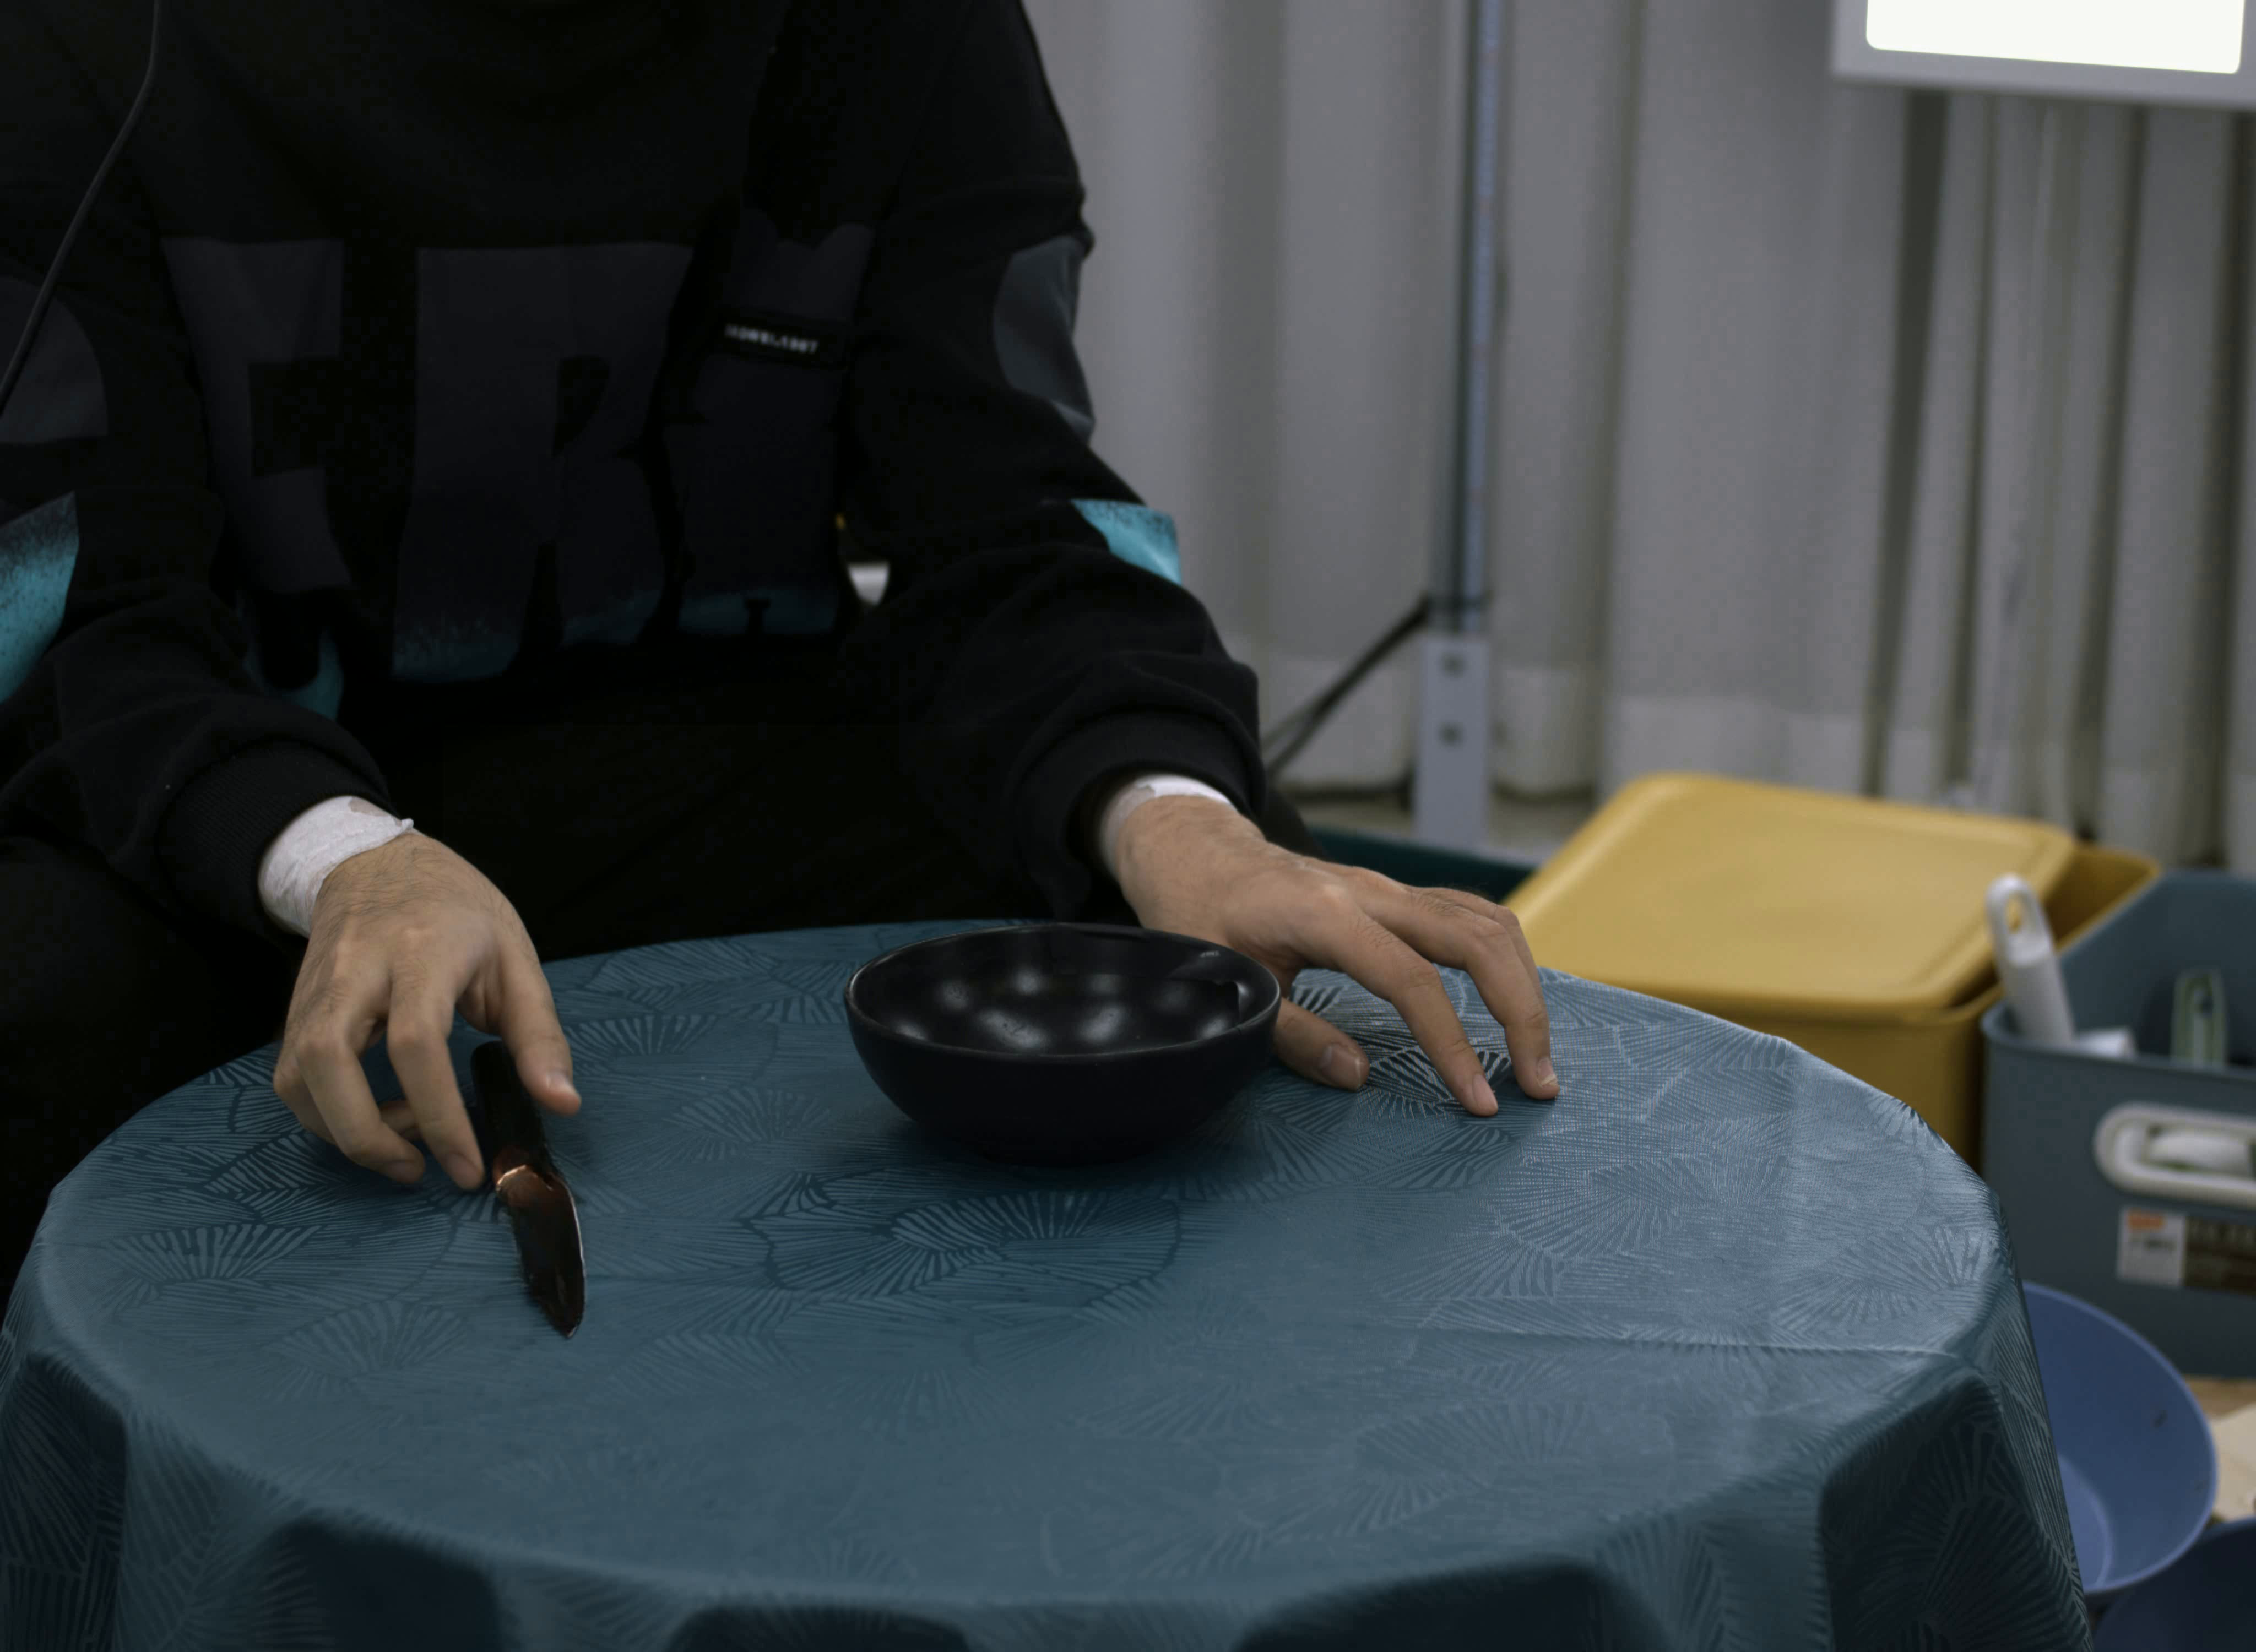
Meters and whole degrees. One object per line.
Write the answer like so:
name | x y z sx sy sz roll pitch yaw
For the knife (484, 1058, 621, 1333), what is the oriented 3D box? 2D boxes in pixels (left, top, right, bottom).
knife | -0.176 0.111 1.599 0.026 0.017 0.223 -1 17 -12

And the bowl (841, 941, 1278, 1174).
bowl | -0.020 0.077 1.668 0.139 0.050 0.139 -3 13 1
